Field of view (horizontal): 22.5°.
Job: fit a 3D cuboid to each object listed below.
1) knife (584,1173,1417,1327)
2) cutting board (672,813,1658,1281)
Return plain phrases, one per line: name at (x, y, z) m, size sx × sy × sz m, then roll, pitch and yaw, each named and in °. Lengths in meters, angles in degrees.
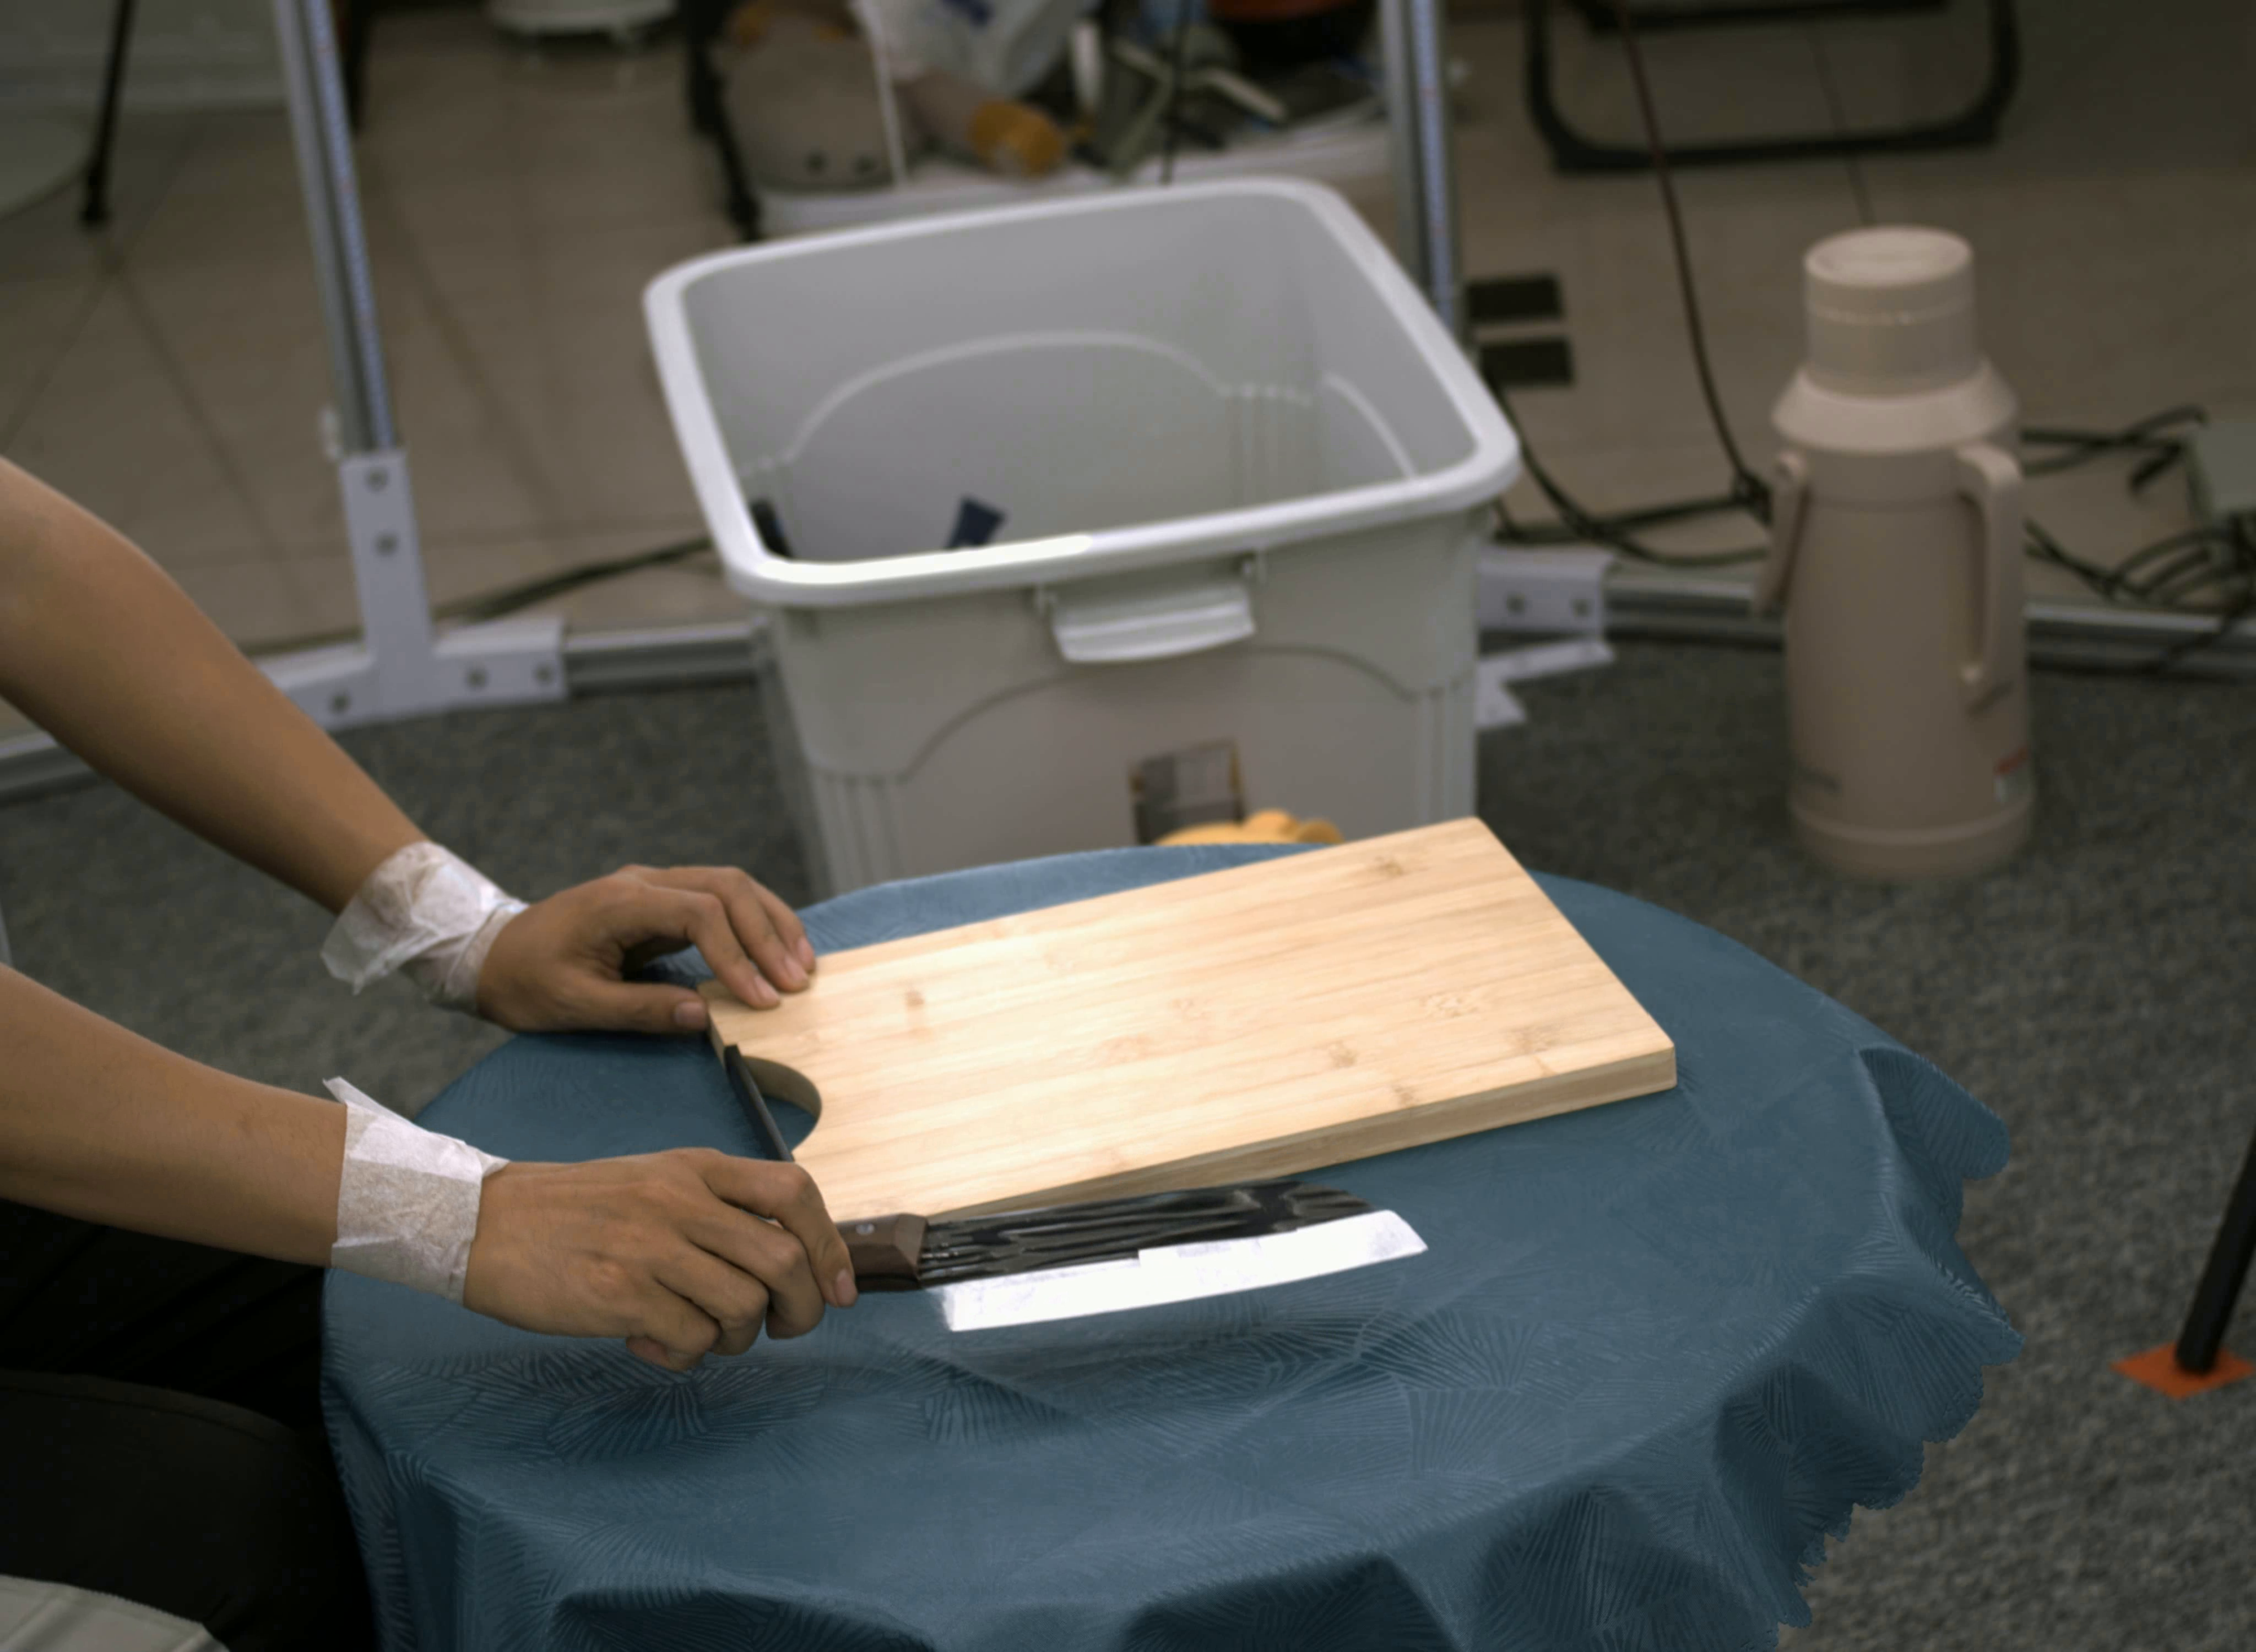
knife at (-0.047, 0.155, 2.028) m, size 0.299 × 0.024 × 0.067 m, roll -7°, pitch 33°, yaw 1°
cutting board at (0.011, 0.083, 2.248) m, size 0.347 × 0.024 × 0.247 m, roll -12°, pitch 25°, yaw -12°
